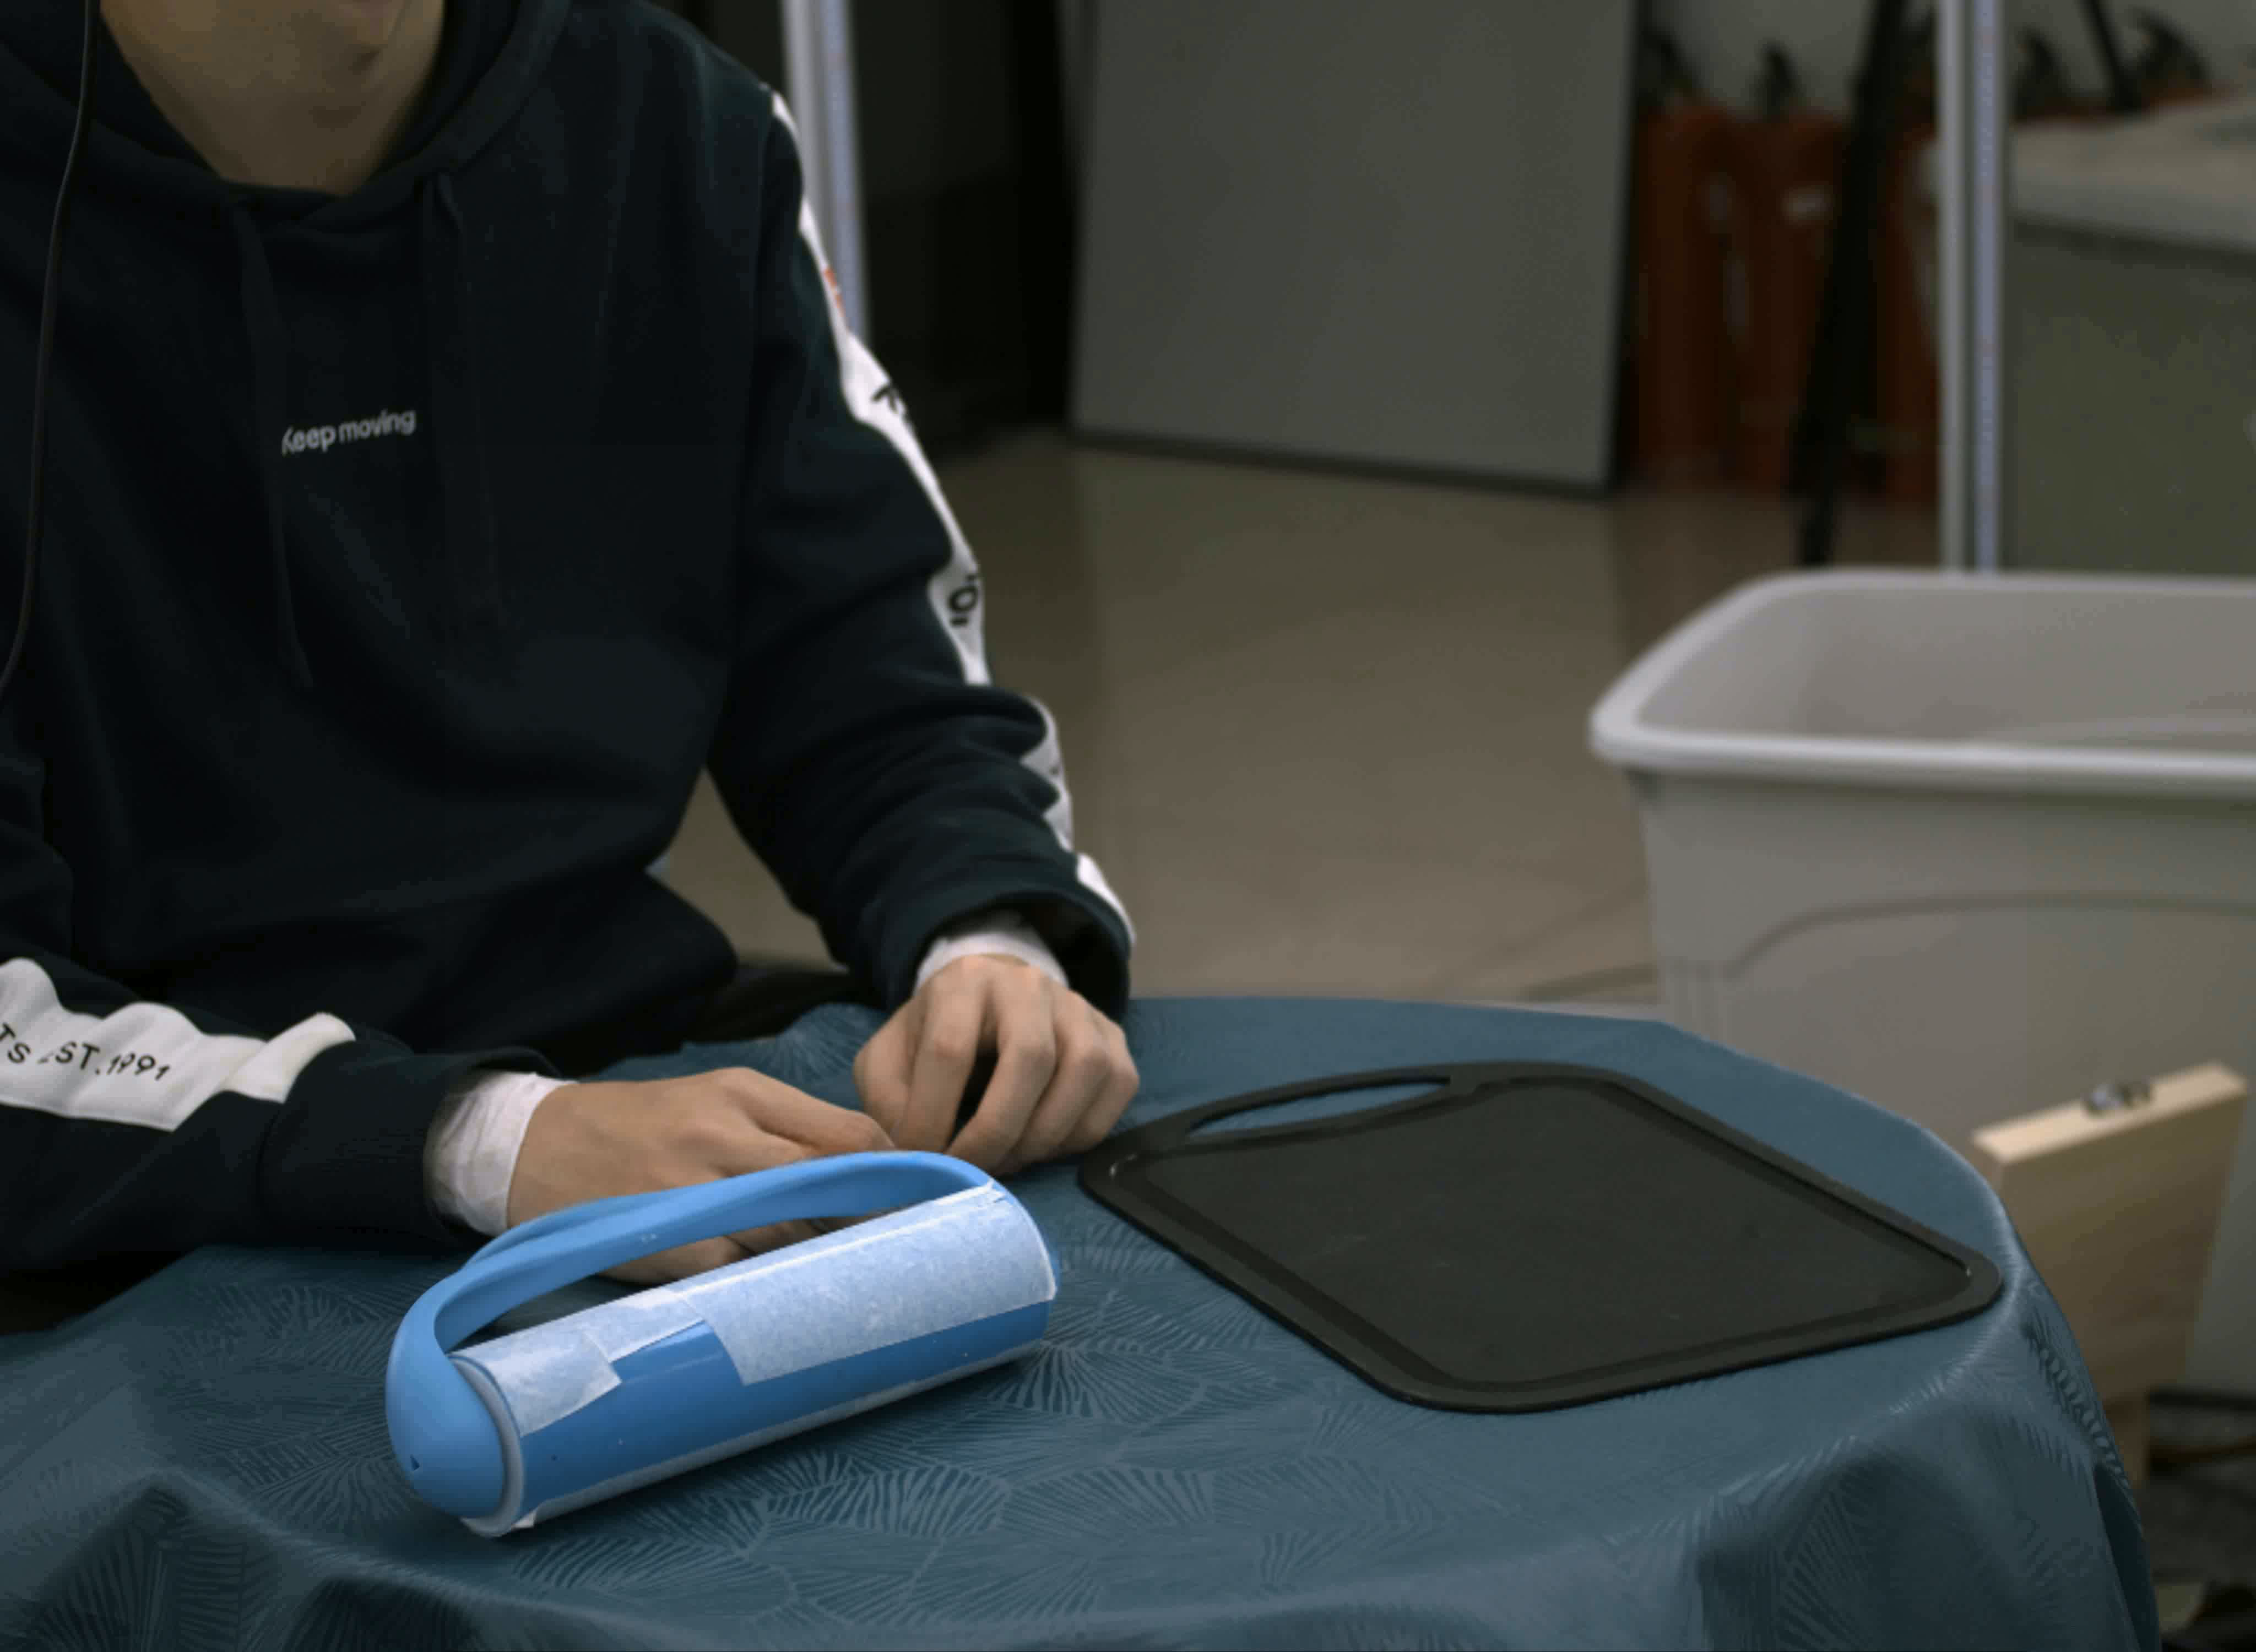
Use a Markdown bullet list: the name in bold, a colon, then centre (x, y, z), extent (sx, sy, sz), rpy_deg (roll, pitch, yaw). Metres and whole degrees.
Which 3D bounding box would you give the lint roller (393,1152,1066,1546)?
- **lint roller**: centre (-0.149, 0.144, 1.605), extent (0.224, 0.068, 0.182), rpy_deg (-18, 21, -39)

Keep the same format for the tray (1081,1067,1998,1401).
- **tray**: centre (0.120, 0.123, 1.715), extent (0.207, 0.010, 0.328), rpy_deg (-10, 15, -21)
